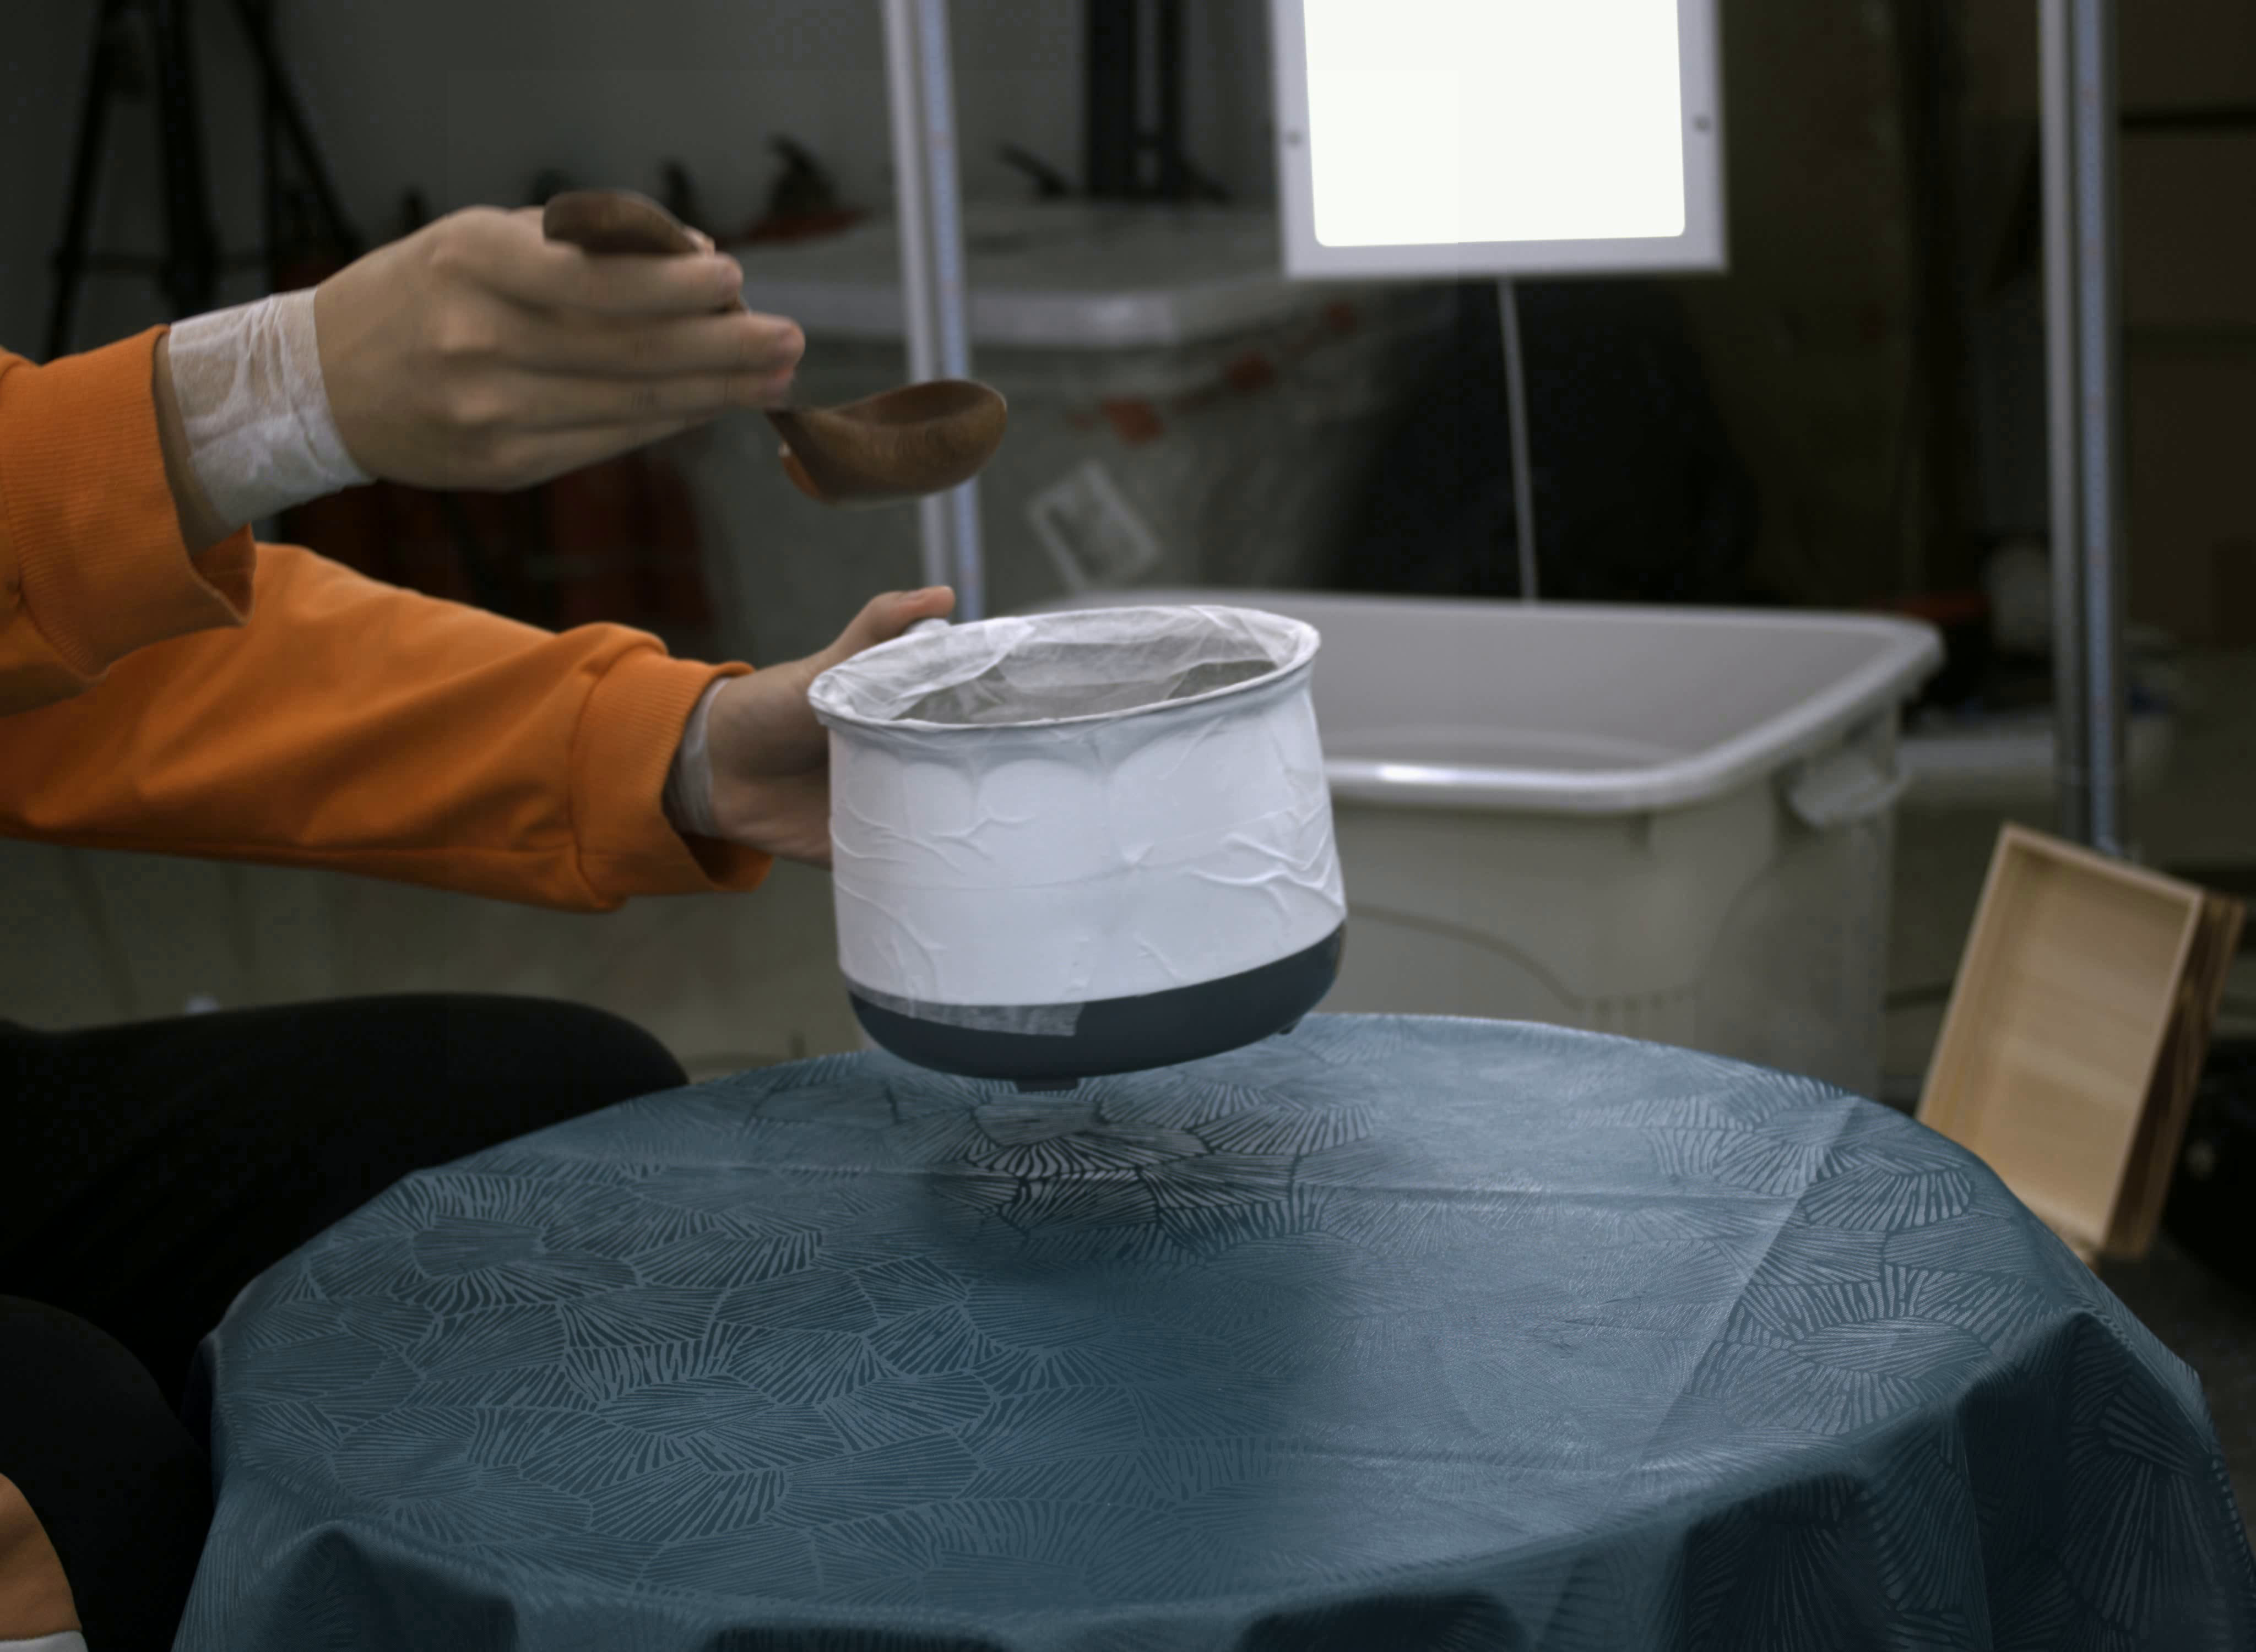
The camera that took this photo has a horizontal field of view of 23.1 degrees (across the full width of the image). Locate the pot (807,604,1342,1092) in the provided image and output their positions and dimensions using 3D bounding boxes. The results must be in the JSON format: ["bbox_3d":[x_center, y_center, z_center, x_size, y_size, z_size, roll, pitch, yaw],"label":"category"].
[{"bbox_3d":[-0.031,0.001,1.918,0.175,0.137,0.238,-13,15,-28],"label":"pot"}]

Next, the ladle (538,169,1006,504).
[{"bbox_3d":[-0.113,-0.160,1.681,0.077,0.065,0.256,-15,-26,20],"label":"ladle"}]
